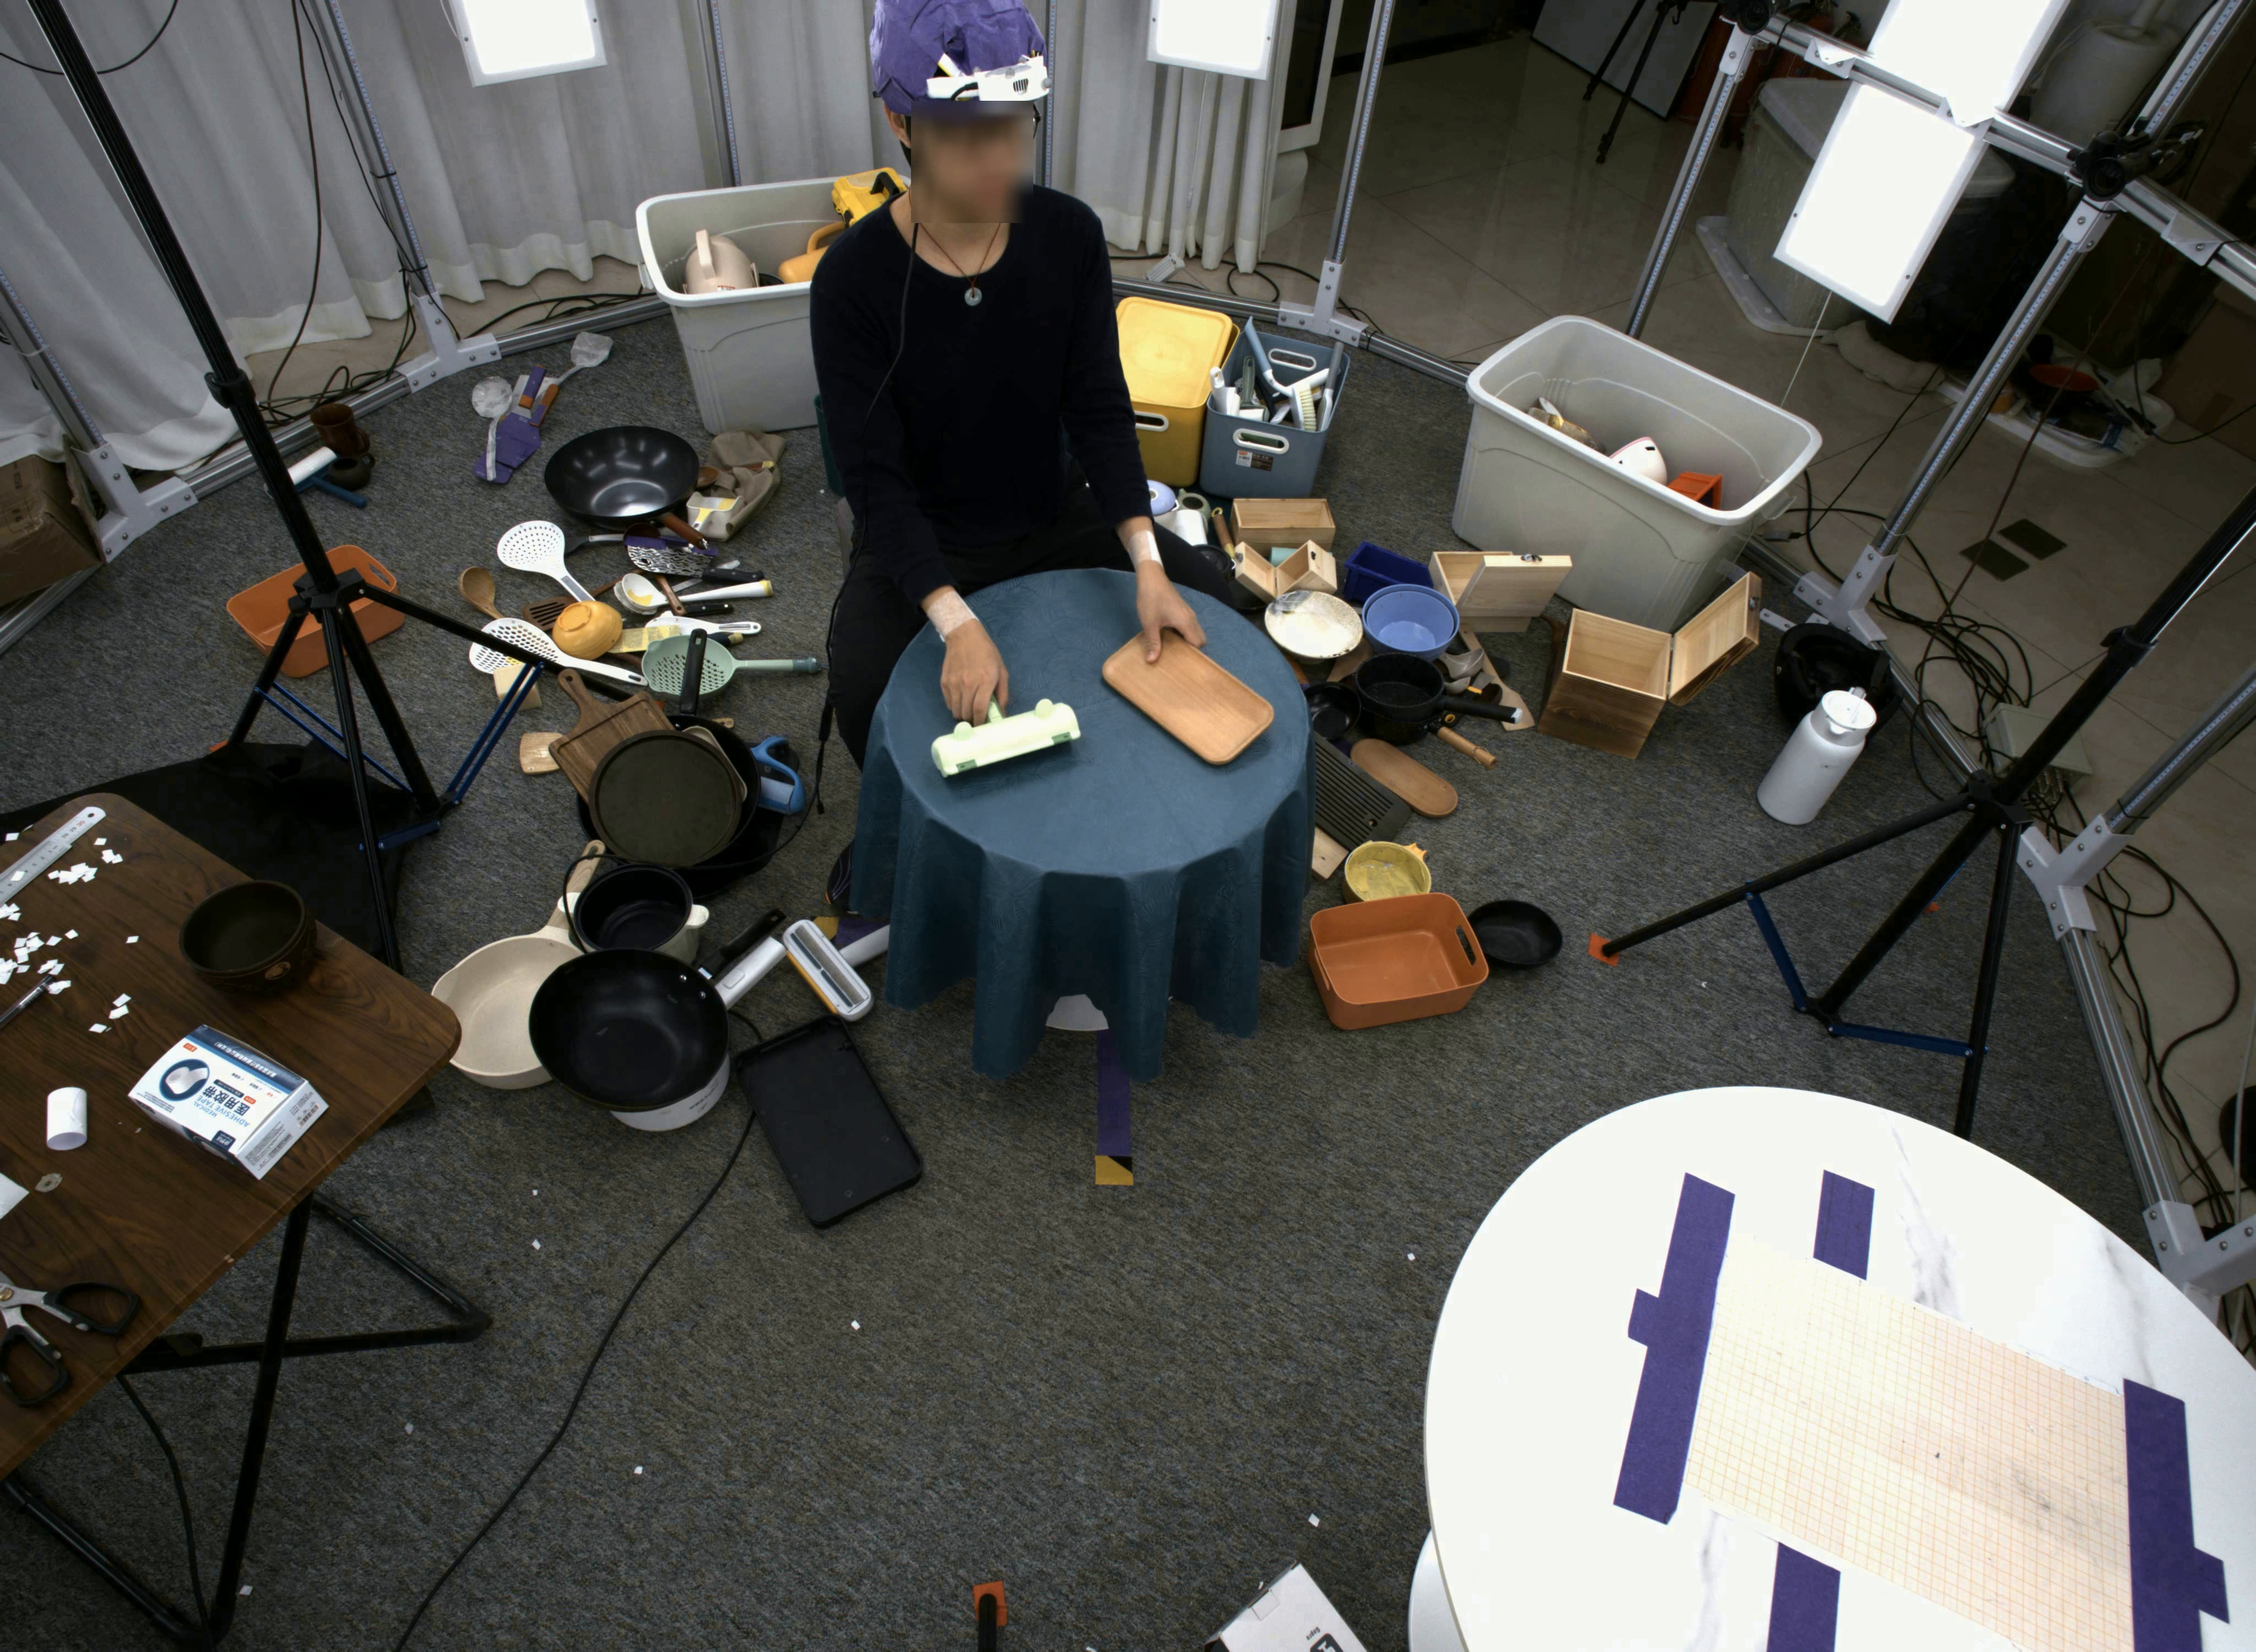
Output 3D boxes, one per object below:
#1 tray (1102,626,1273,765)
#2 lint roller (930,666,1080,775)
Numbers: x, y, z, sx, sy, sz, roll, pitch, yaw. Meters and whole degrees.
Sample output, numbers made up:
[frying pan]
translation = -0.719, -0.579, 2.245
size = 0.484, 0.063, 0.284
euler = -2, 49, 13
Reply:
[tray]
translation = 0.082, -0.187, 1.811
size = 0.131, 0.022, 0.255
euler = -38, 60, -20
[lint roller]
translation = -0.186, -0.166, 1.740
size = 0.199, 0.080, 0.187
euler = -17, 60, -18
